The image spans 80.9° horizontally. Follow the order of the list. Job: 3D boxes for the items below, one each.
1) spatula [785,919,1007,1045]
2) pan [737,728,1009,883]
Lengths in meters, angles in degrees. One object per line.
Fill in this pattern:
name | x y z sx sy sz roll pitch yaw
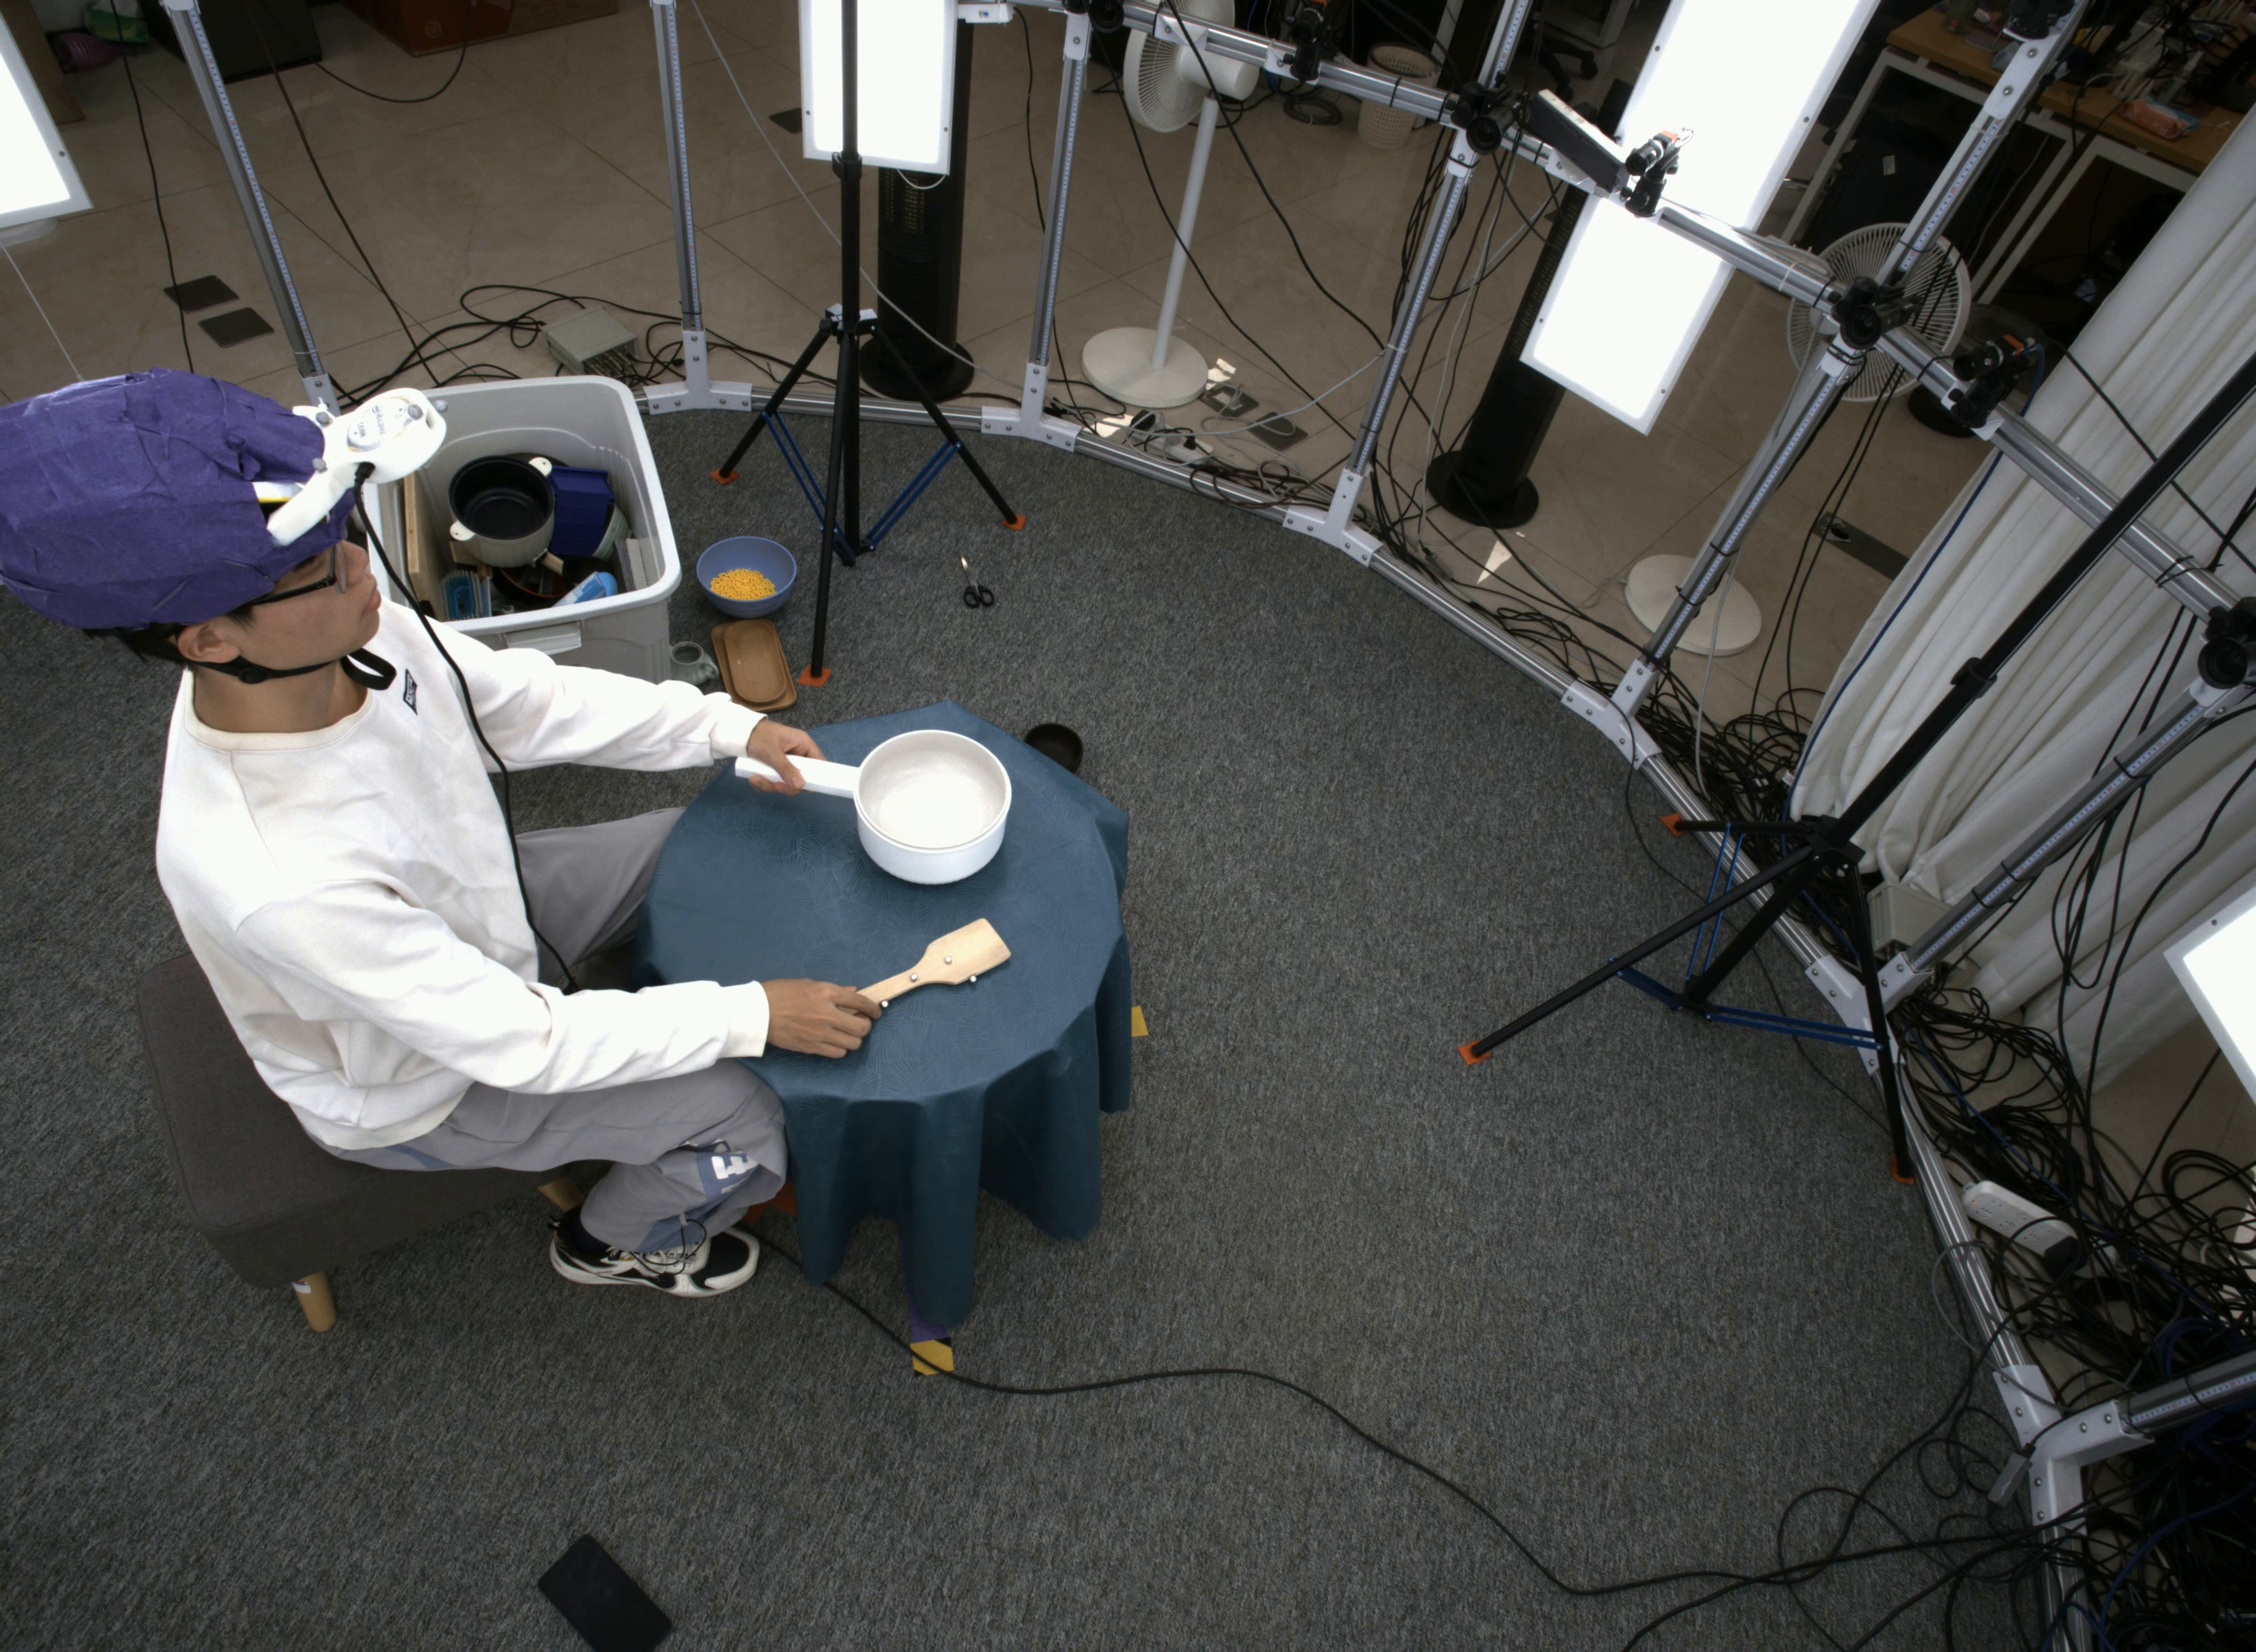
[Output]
spatula | -0.287 0.196 1.607 0.294 0.011 0.070 -25 61 -29
pan | -0.334 -0.036 1.712 0.352 0.104 0.198 10 52 -4
